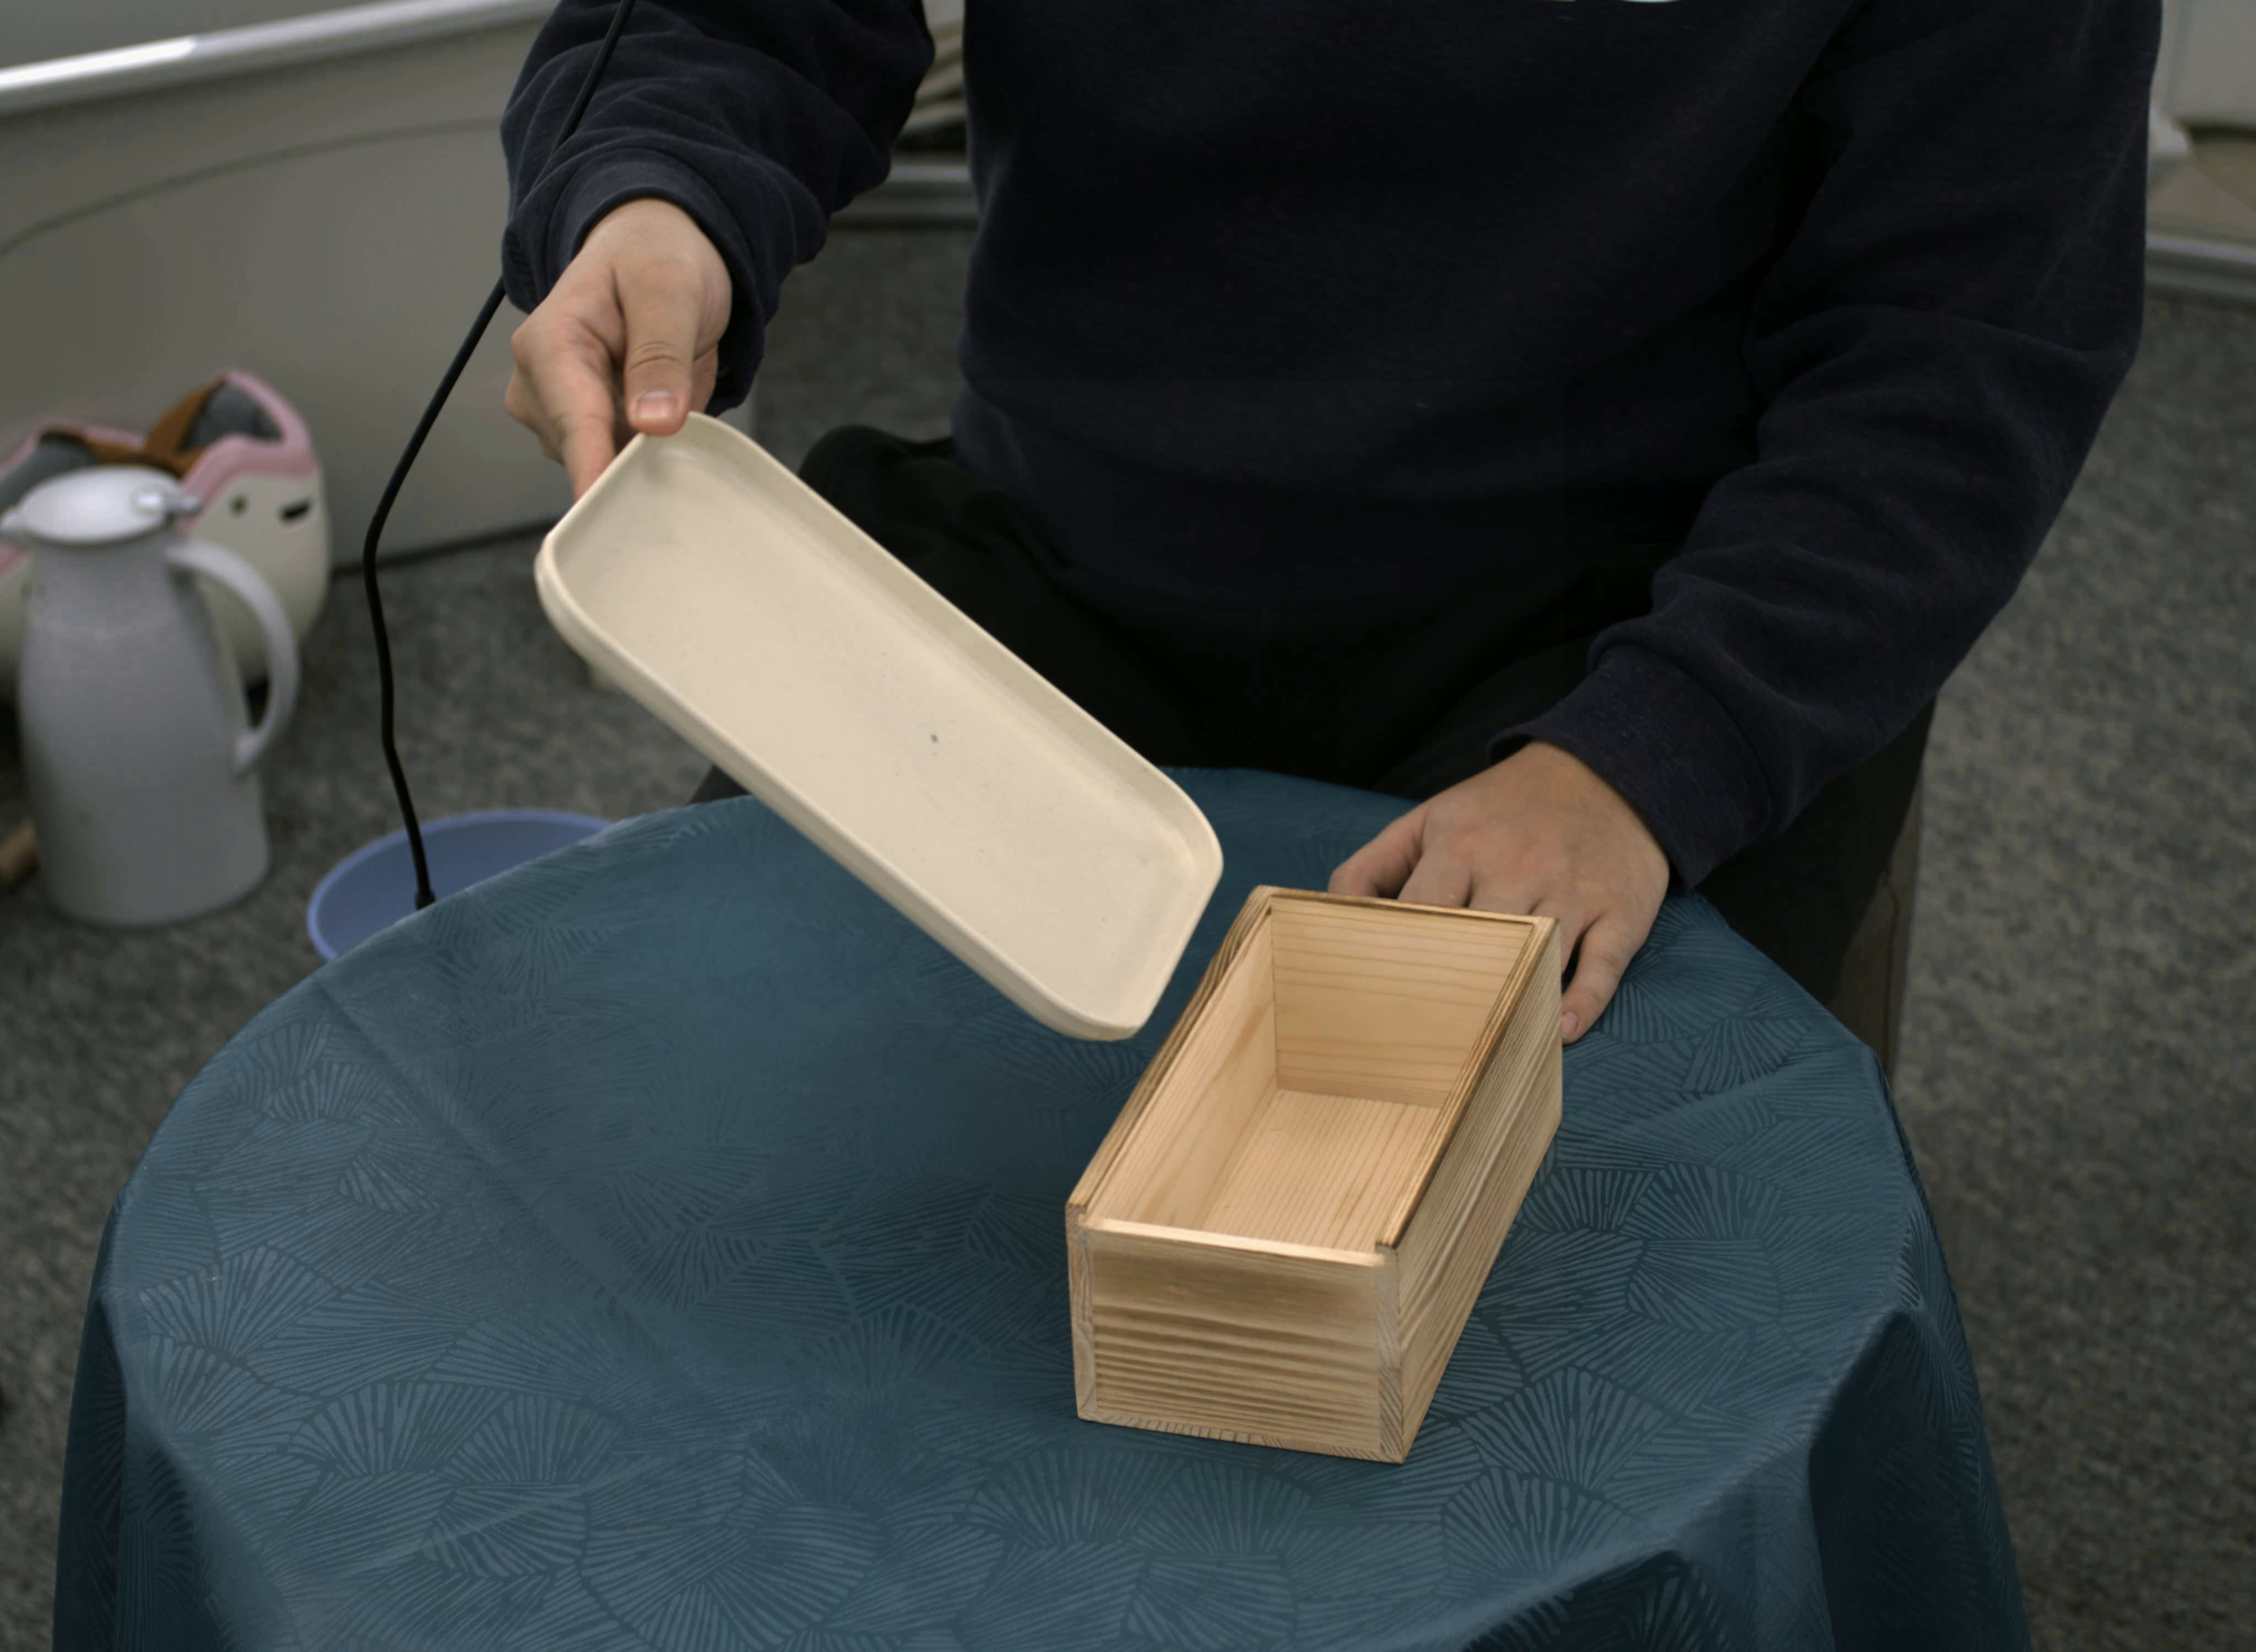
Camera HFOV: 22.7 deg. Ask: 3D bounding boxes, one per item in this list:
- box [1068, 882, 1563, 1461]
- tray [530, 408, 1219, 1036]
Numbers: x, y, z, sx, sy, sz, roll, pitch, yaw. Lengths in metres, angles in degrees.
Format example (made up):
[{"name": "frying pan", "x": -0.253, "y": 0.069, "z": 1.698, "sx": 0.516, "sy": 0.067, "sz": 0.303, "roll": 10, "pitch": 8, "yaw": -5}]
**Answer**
[{"name": "box", "x": 0.064, "y": 0.107, "z": 1.802, "sx": 0.107, "sy": 0.079, "sz": 0.215, "roll": 6, "pitch": 28, "yaw": 16}, {"name": "tray", "x": -0.079, "y": -0.033, "z": 1.789, "sx": 0.239, "sy": 0.017, "sz": 0.174, "roll": 38, "pitch": 26, "yaw": -4}]
